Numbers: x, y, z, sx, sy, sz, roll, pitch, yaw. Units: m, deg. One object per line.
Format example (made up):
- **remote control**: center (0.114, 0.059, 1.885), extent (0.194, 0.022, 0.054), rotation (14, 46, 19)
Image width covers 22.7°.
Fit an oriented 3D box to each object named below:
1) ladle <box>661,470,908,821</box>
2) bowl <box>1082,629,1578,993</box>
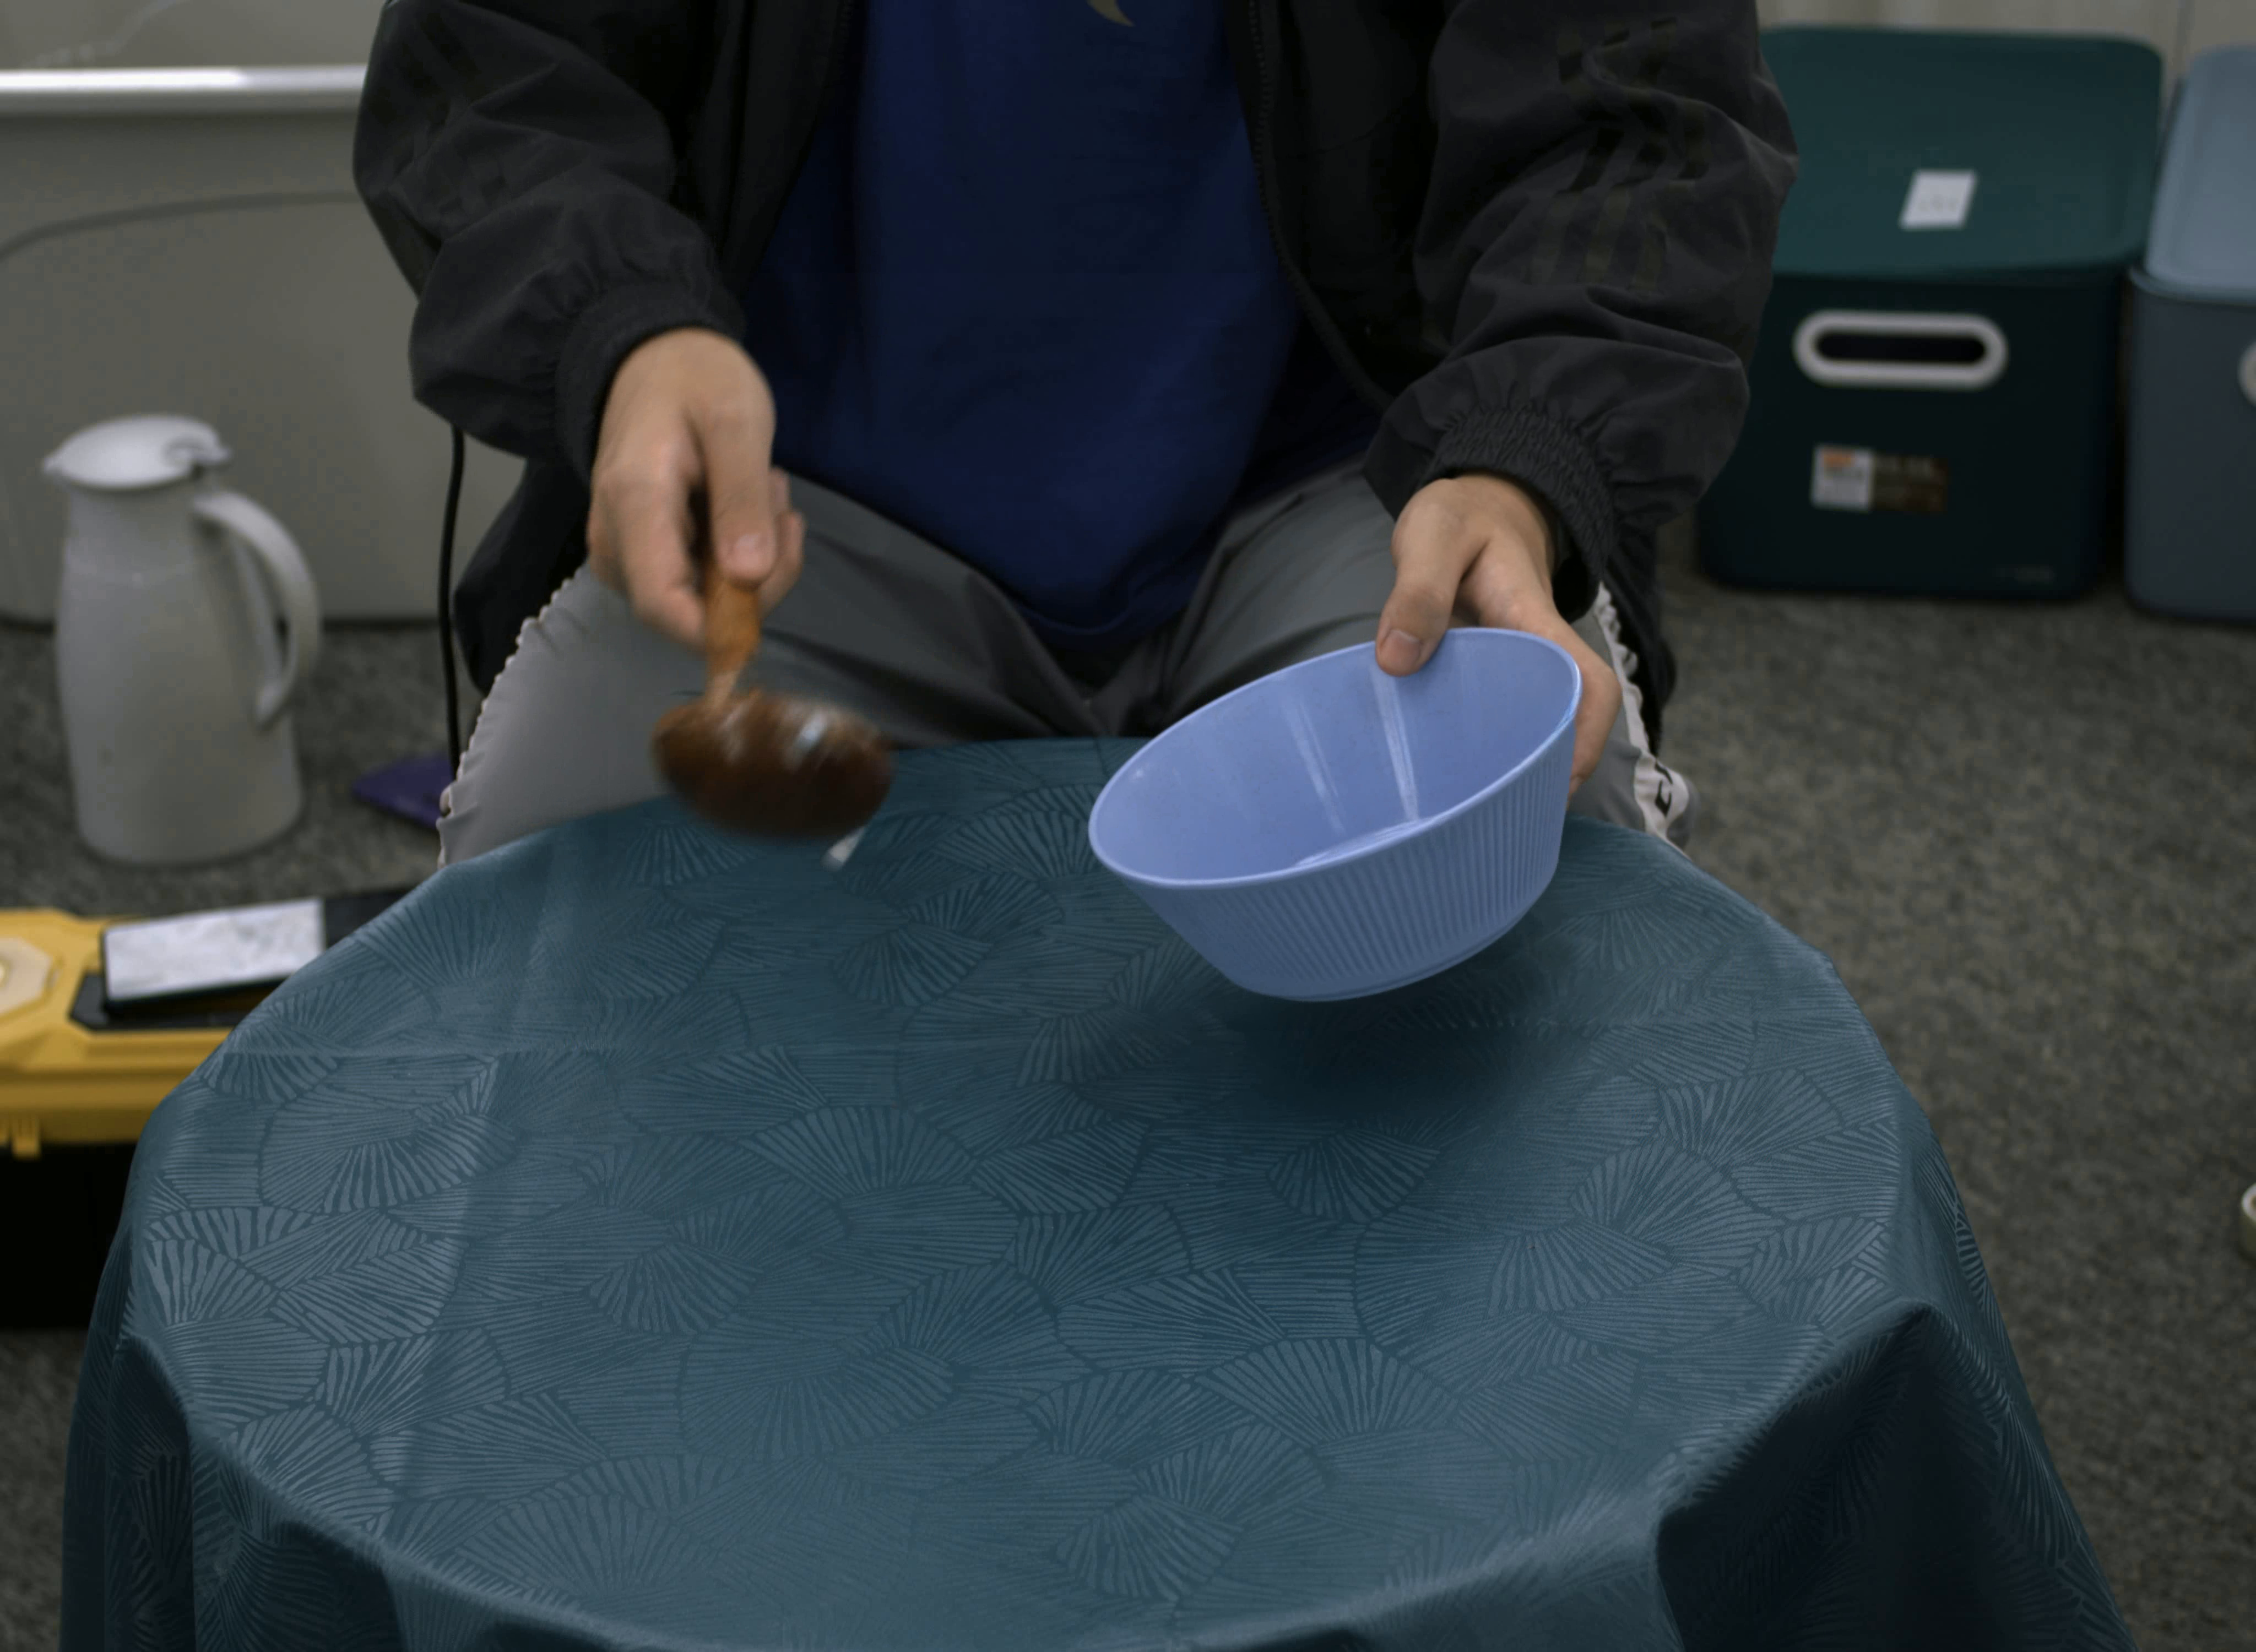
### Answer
- **ladle**: center (-0.121, -0.082, 1.923), extent (0.081, 0.075, 0.278), rotation (22, 26, -16)
- **bowl**: center (0.077, 0.001, 1.910), extent (0.175, 0.070, 0.178), rotation (-17, 21, 7)
